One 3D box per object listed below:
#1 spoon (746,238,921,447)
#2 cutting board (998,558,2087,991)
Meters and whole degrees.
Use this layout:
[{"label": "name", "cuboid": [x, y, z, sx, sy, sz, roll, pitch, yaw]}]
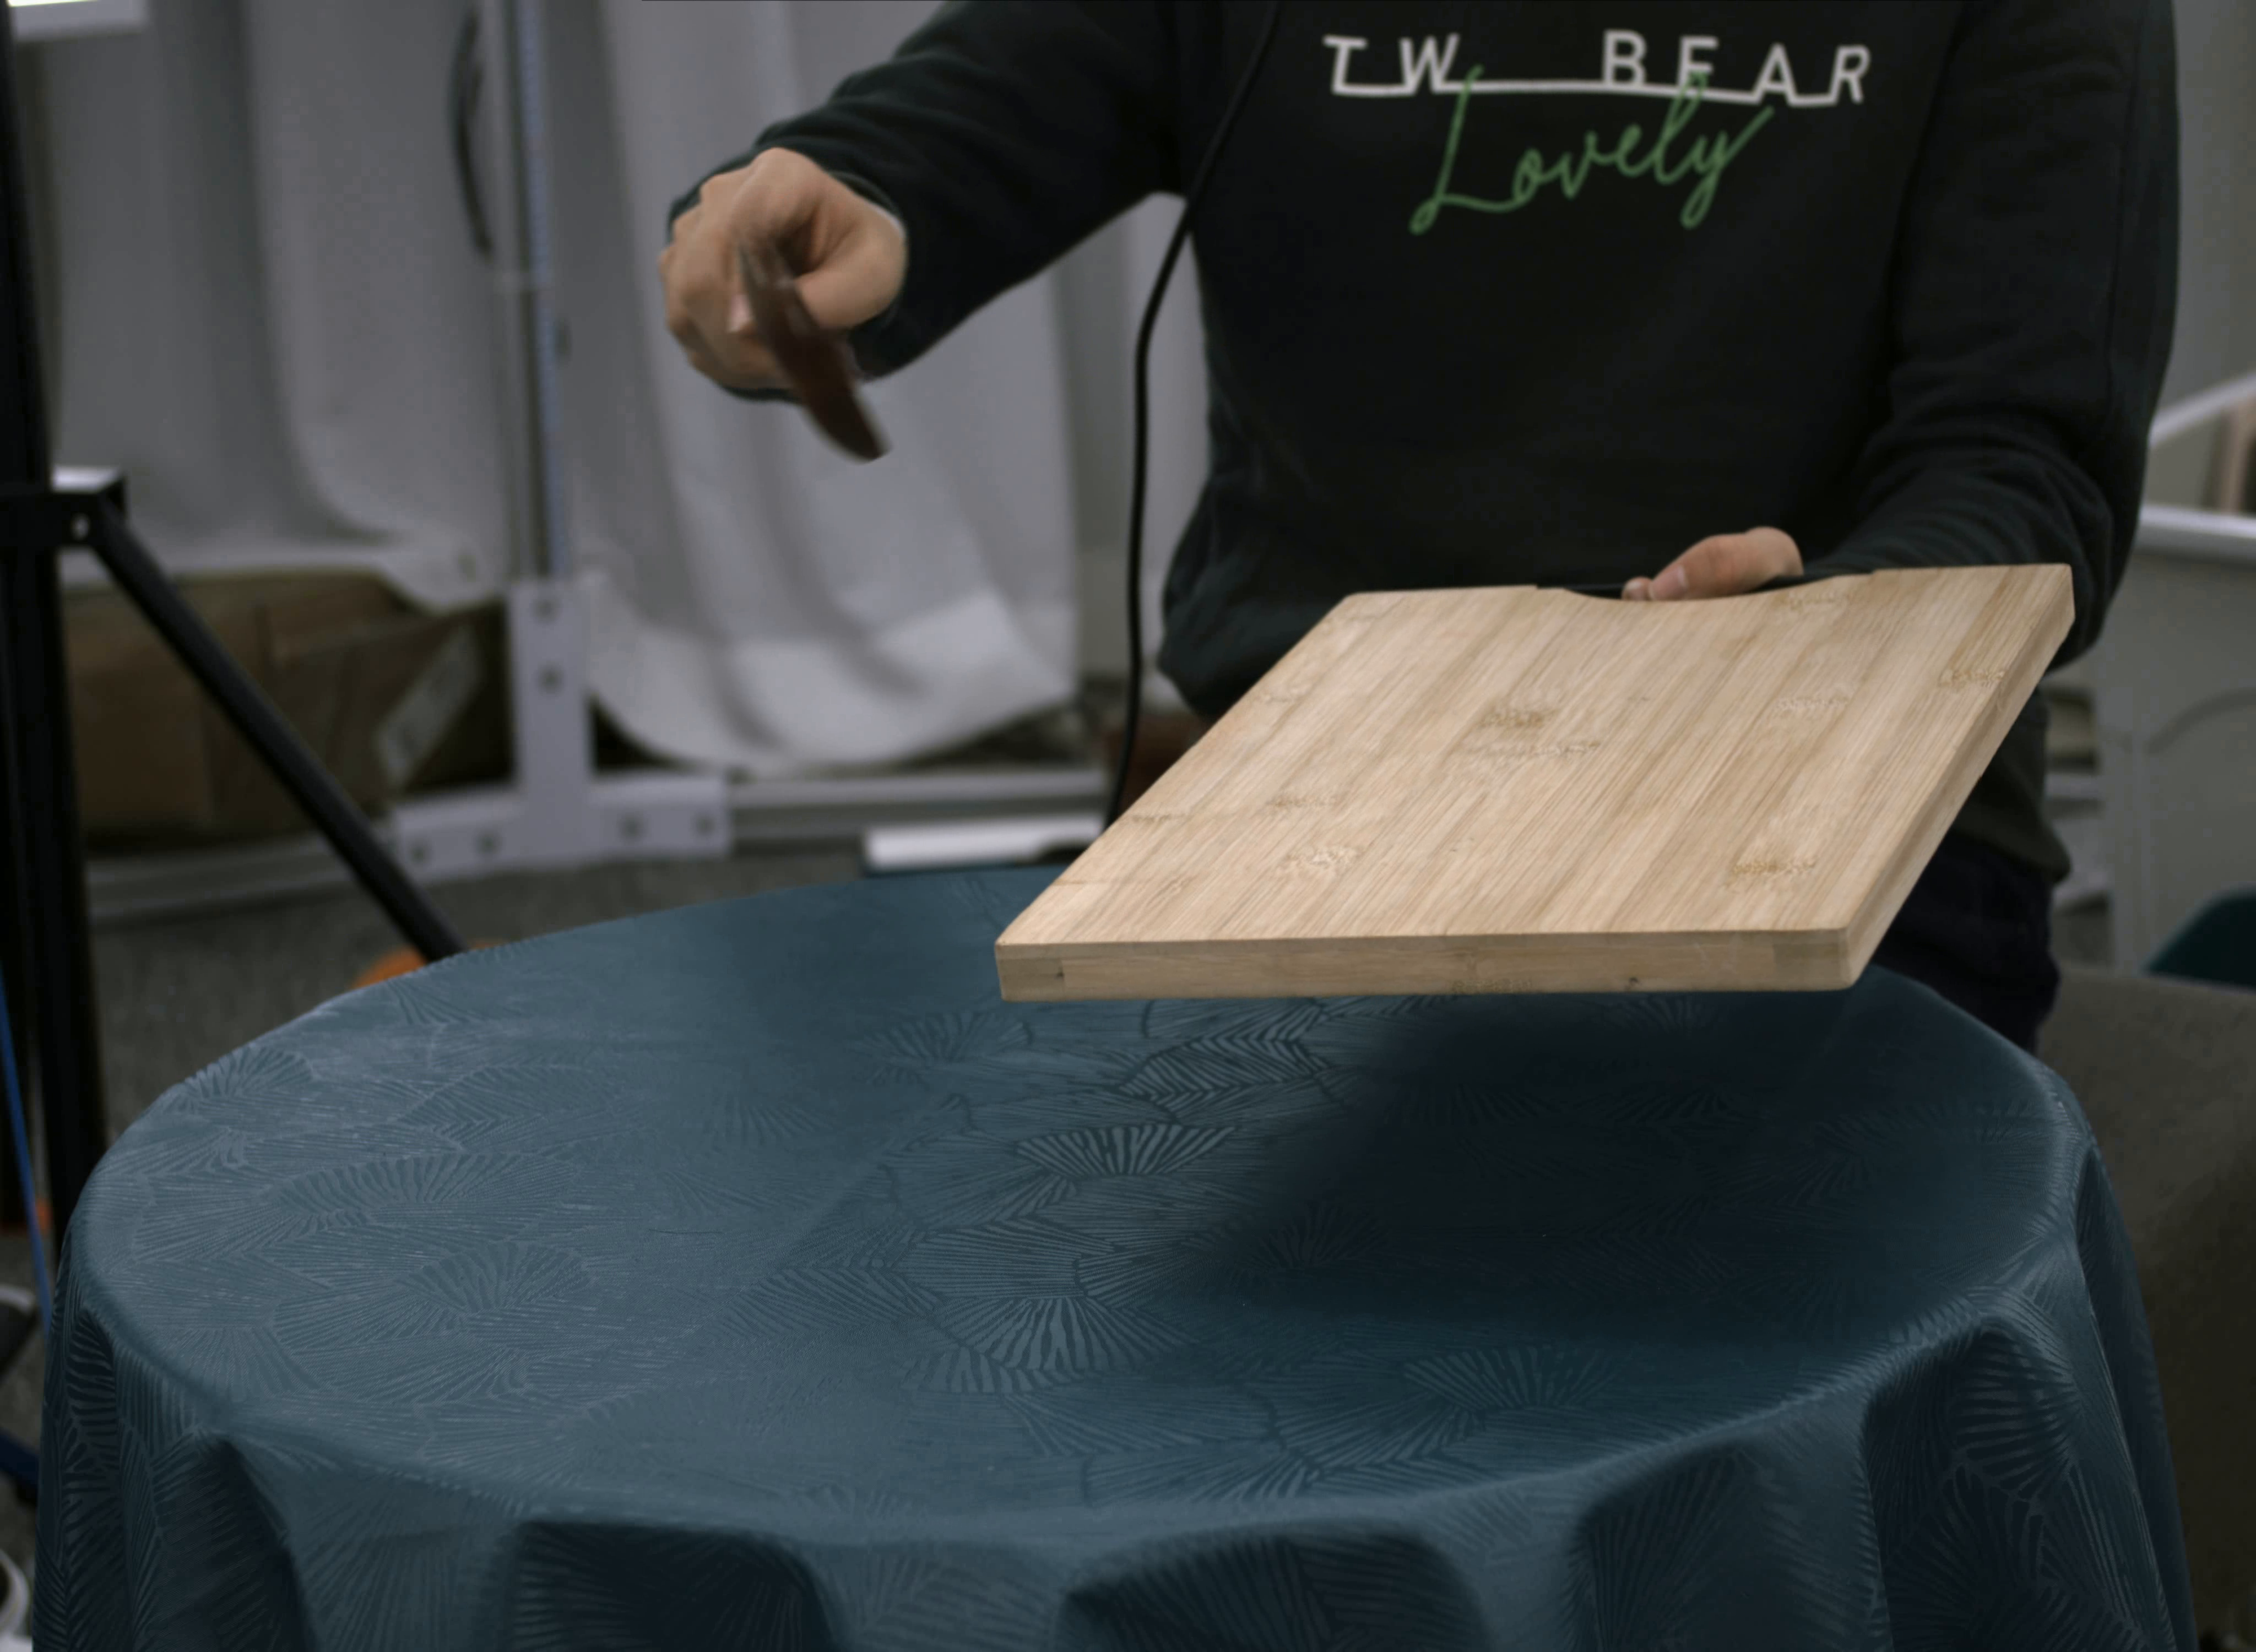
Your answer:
[{"label": "spoon", "cuboid": [-0.098, -0.151, 1.628, 0.017, 0.075, 0.218, -37, 14, -1]}, {"label": "cutting board", "cuboid": [0.133, -0.018, 1.563, 0.253, 0.023, 0.345, -1, 18, 20]}]
